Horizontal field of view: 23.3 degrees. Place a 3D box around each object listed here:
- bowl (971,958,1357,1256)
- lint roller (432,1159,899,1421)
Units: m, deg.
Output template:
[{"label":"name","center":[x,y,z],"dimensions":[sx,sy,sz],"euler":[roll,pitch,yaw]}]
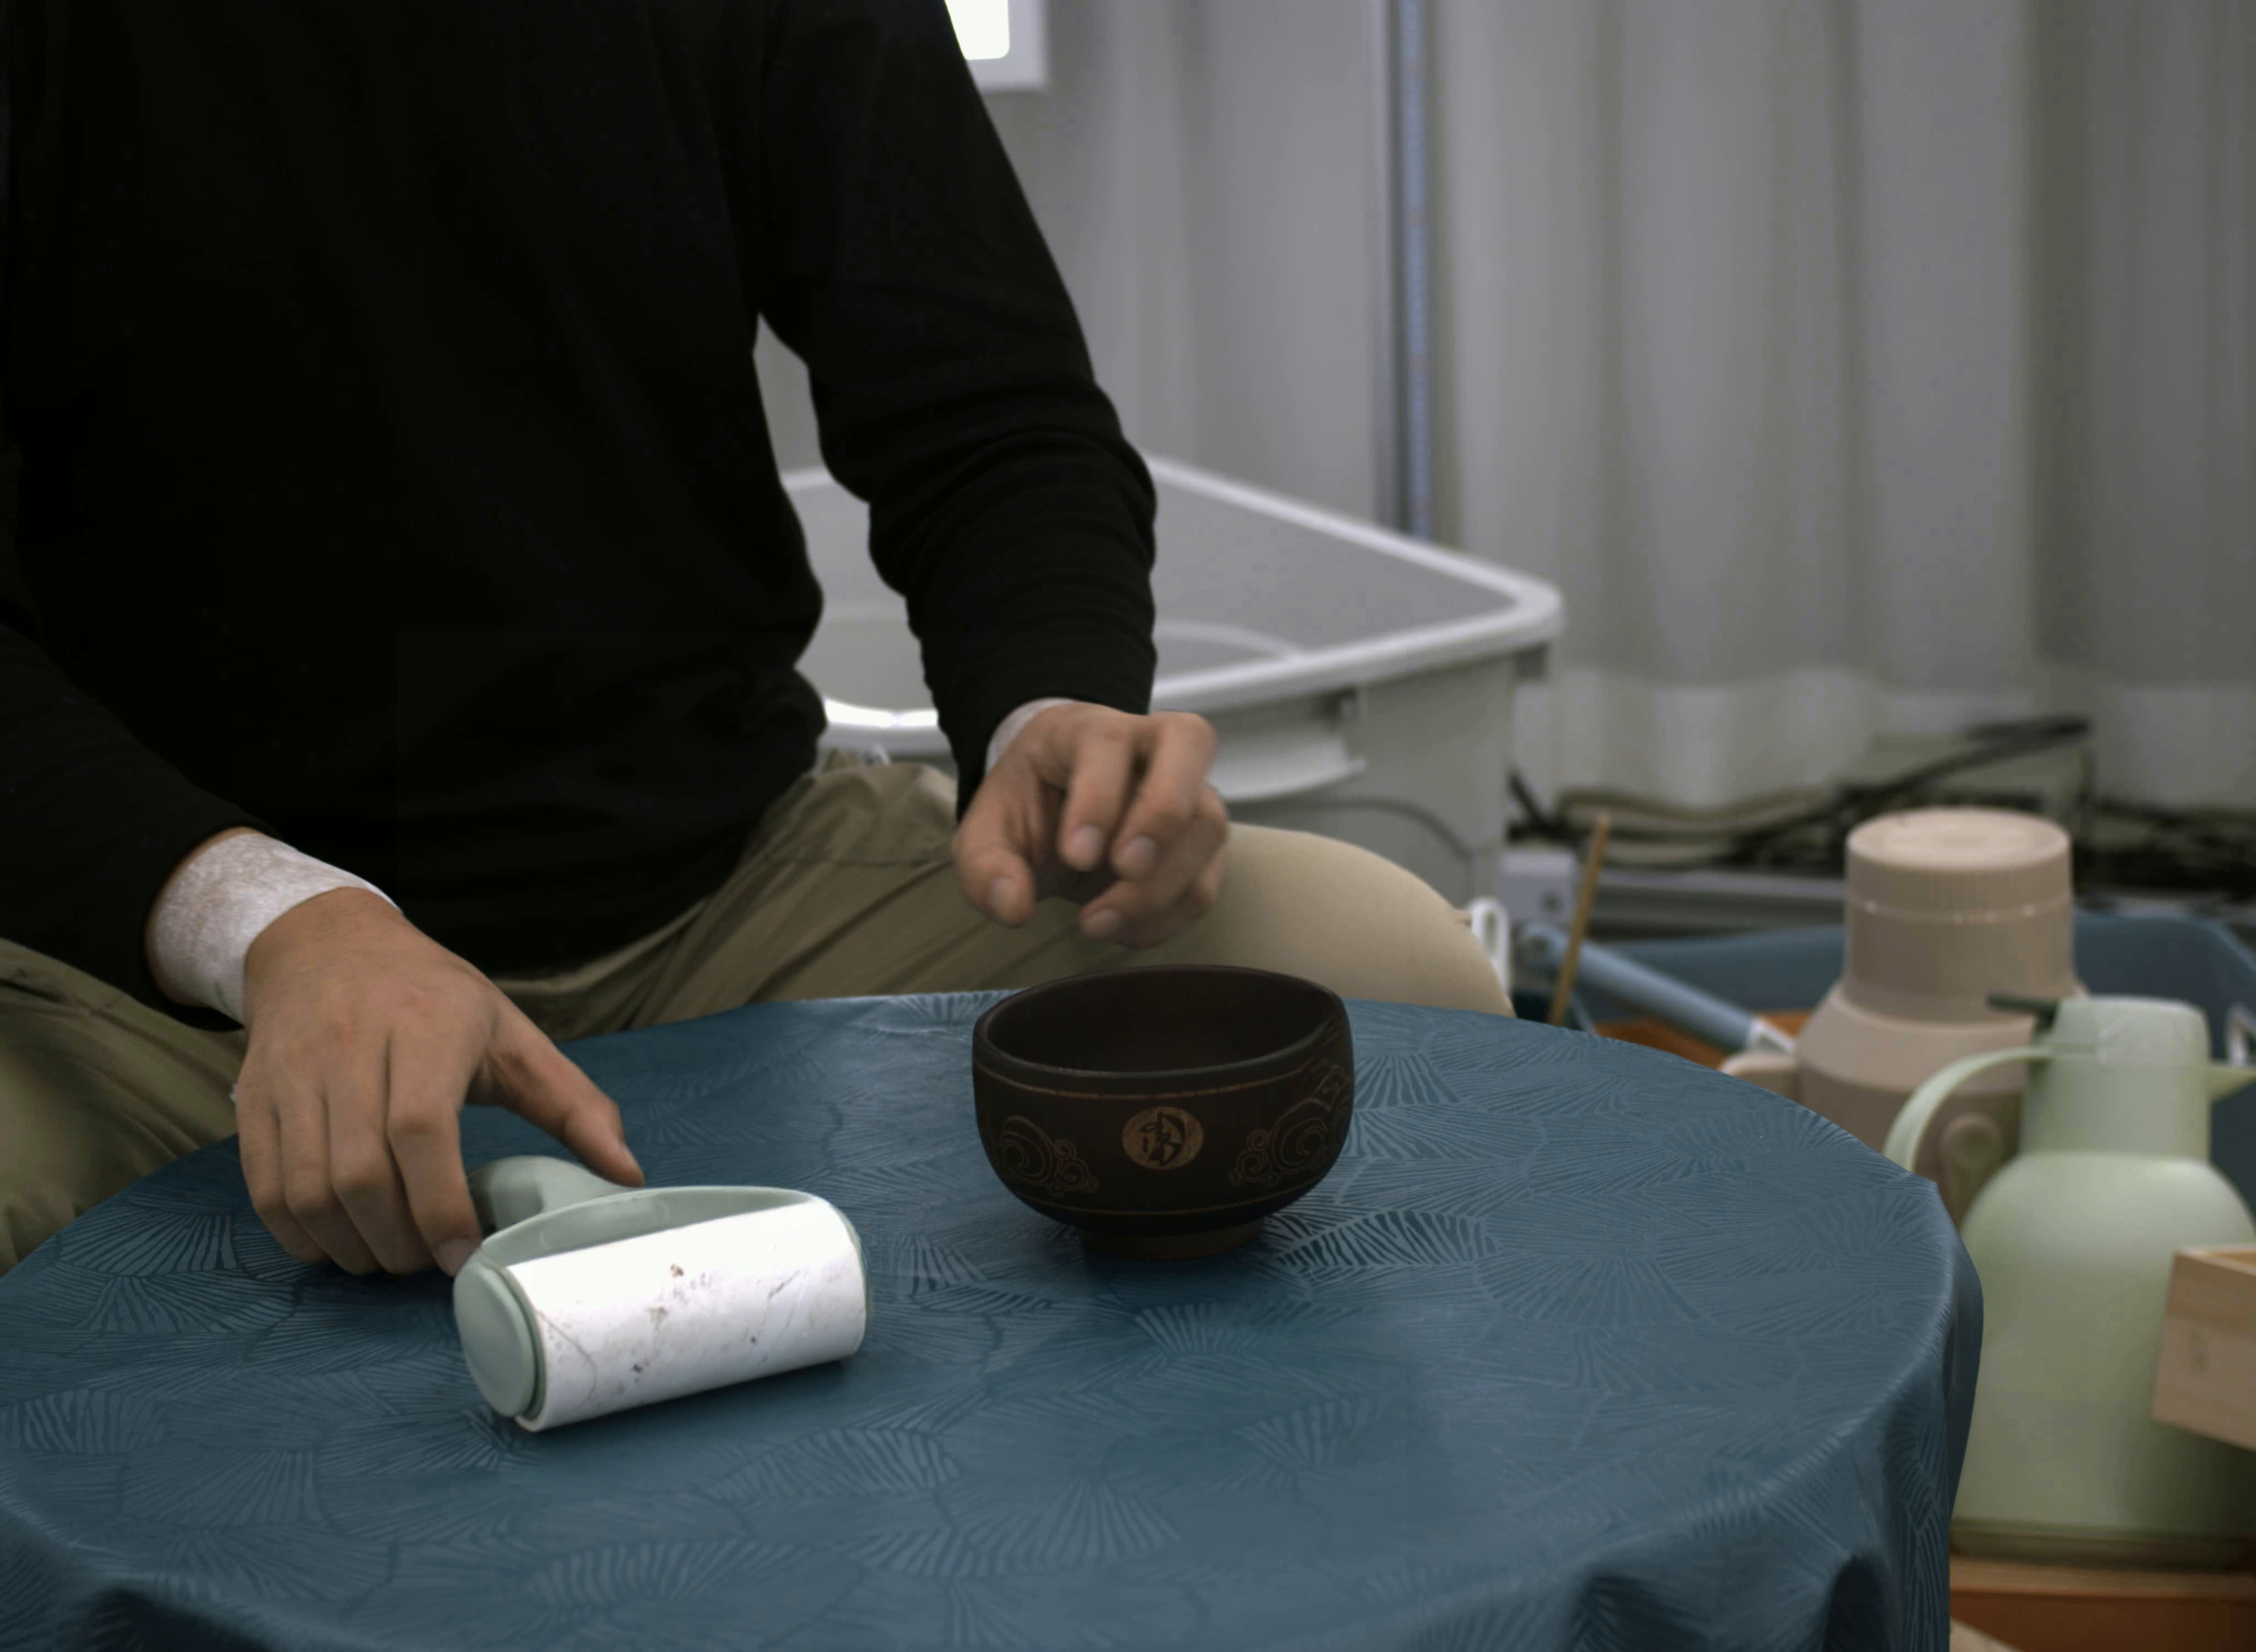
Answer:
[{"label":"bowl","center":[0.012,0.090,1.667],"dimensions":[0.117,0.069,0.119],"euler":[-4,14,1]},{"label":"lint roller","center":[-0.158,0.124,1.623],"dimensions":[0.116,0.048,0.199],"euler":[-12,16,-28]}]
